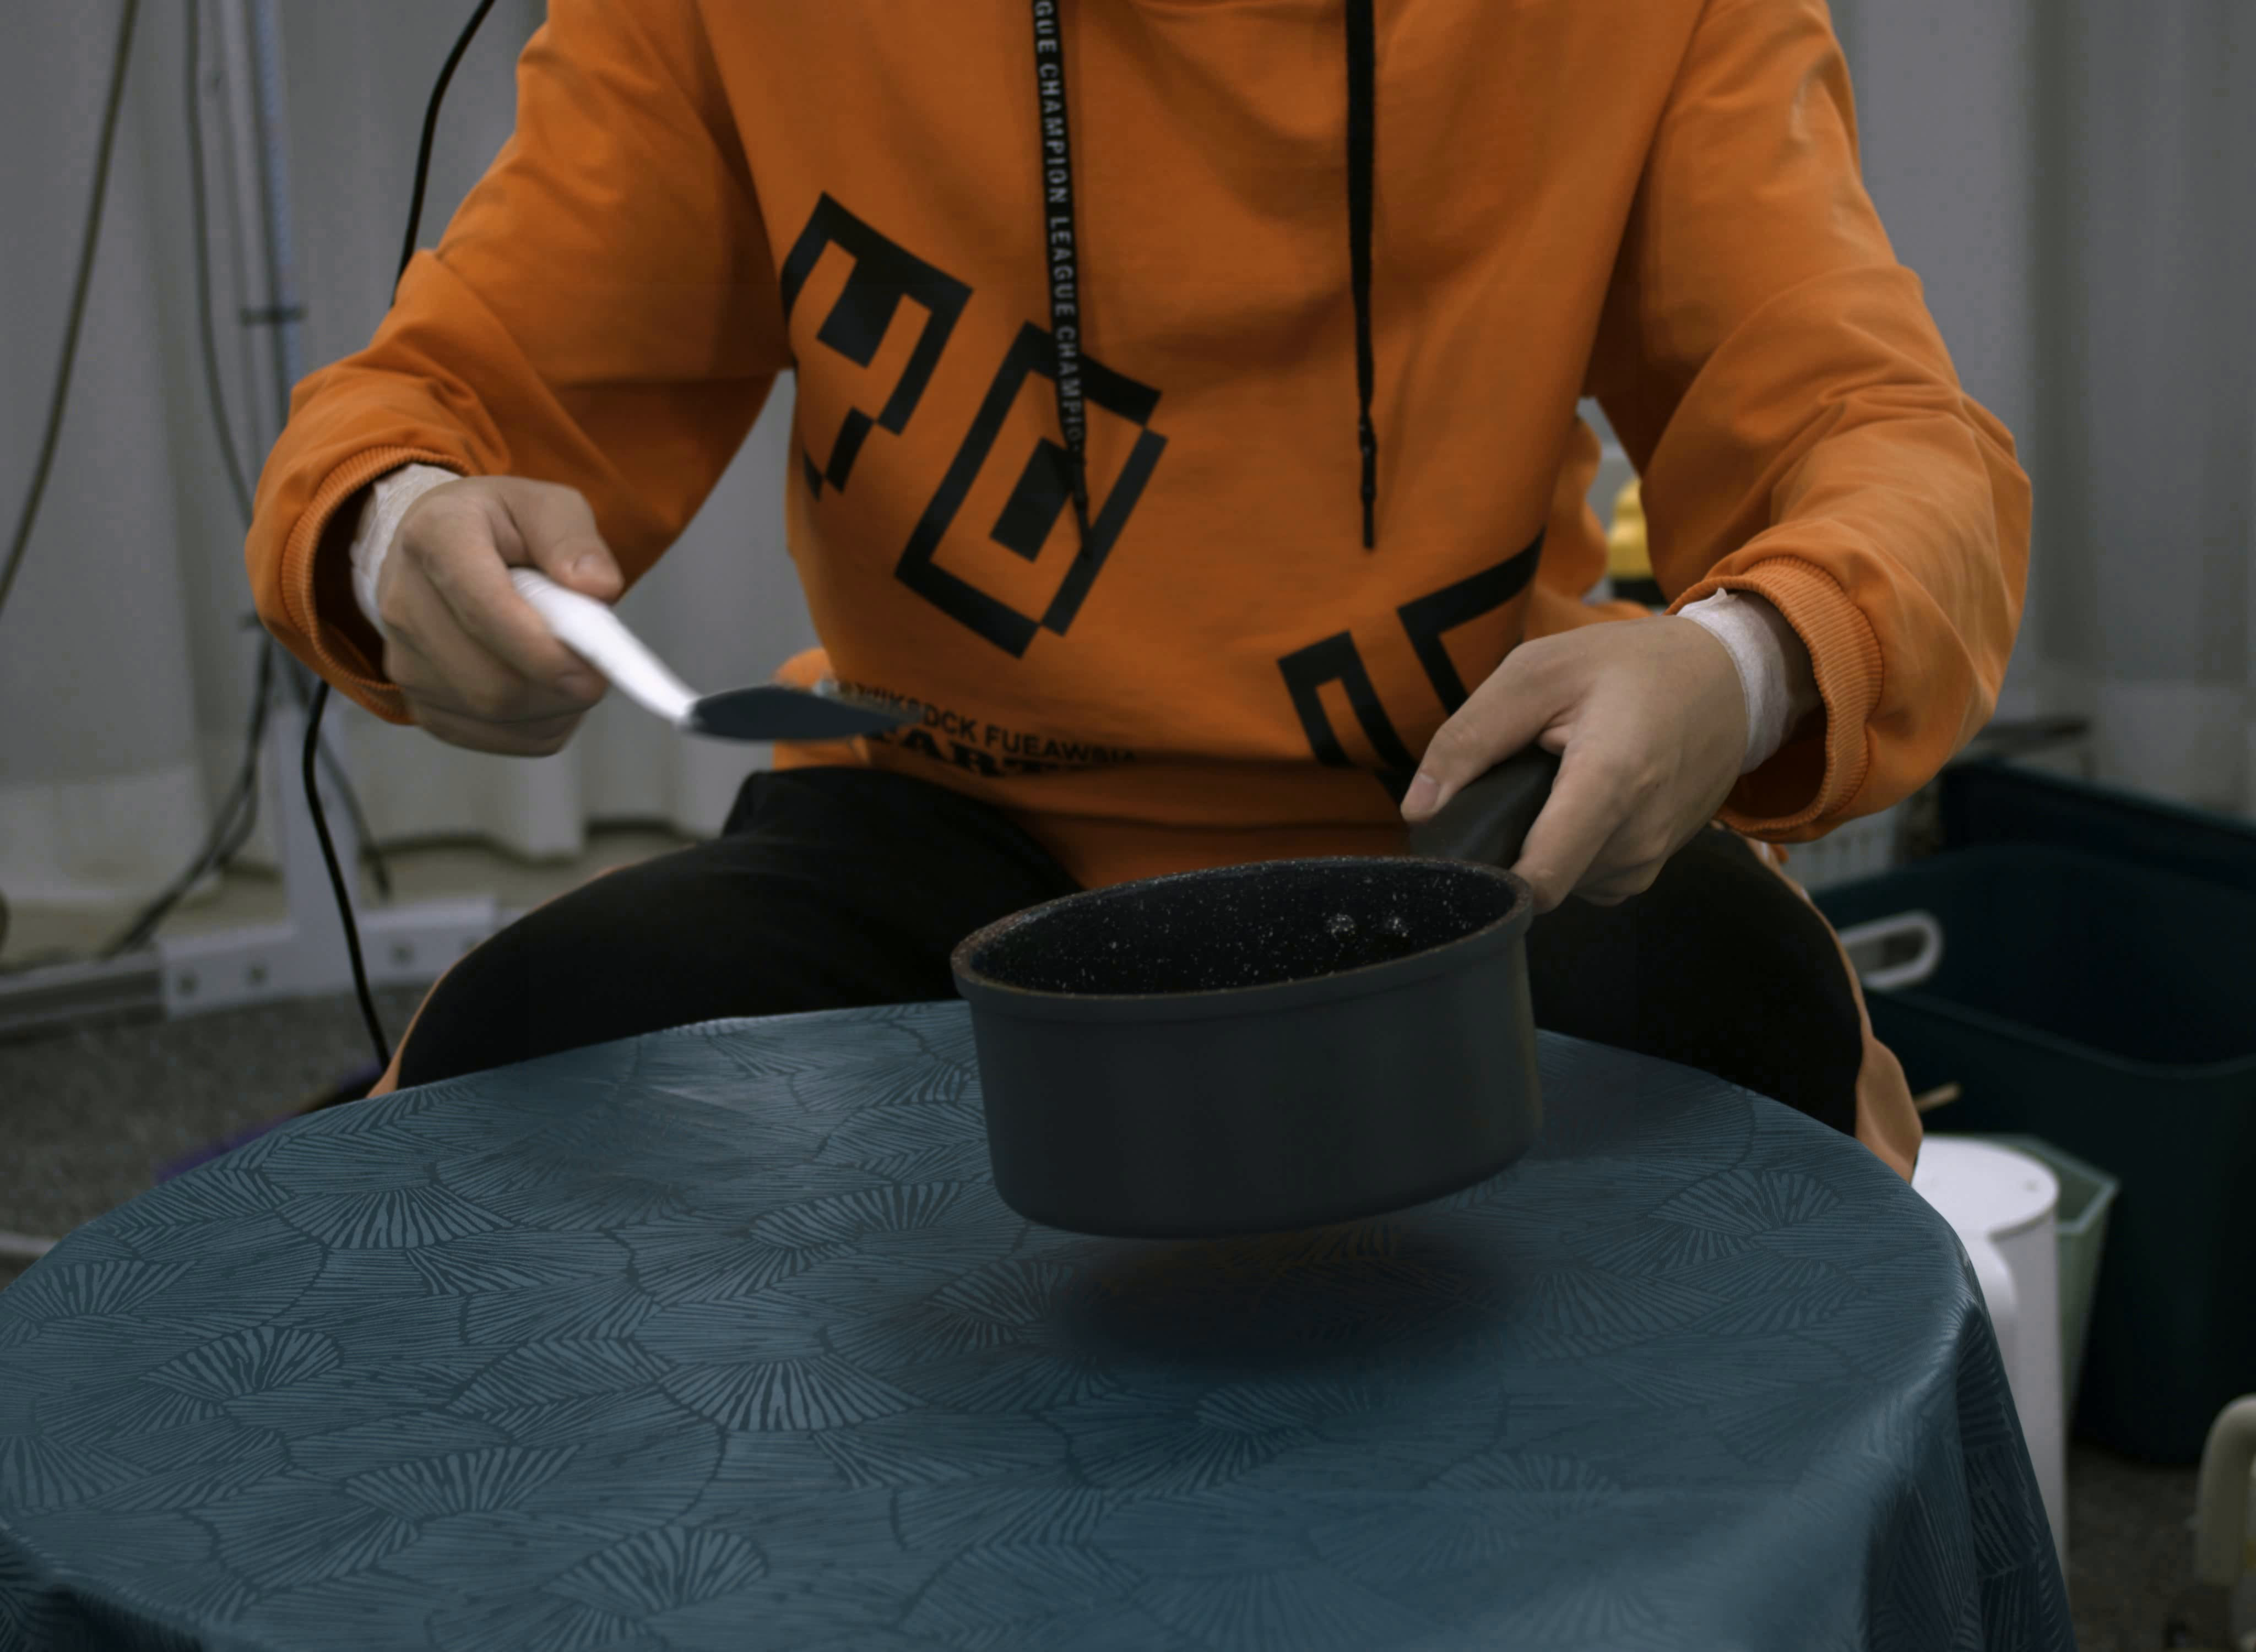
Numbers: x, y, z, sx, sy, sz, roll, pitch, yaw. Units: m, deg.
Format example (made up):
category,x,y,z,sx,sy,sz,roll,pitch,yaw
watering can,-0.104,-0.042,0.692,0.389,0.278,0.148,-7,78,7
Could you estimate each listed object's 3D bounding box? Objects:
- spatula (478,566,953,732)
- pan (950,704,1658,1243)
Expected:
category,x,y,z,sx,sy,sz,roll,pitch,yaw
spatula,-0.136,-0.051,1.688,0.058,0.032,0.289,13,2,-28
pan,0.077,0.042,1.665,0.172,0.086,0.329,1,15,32
